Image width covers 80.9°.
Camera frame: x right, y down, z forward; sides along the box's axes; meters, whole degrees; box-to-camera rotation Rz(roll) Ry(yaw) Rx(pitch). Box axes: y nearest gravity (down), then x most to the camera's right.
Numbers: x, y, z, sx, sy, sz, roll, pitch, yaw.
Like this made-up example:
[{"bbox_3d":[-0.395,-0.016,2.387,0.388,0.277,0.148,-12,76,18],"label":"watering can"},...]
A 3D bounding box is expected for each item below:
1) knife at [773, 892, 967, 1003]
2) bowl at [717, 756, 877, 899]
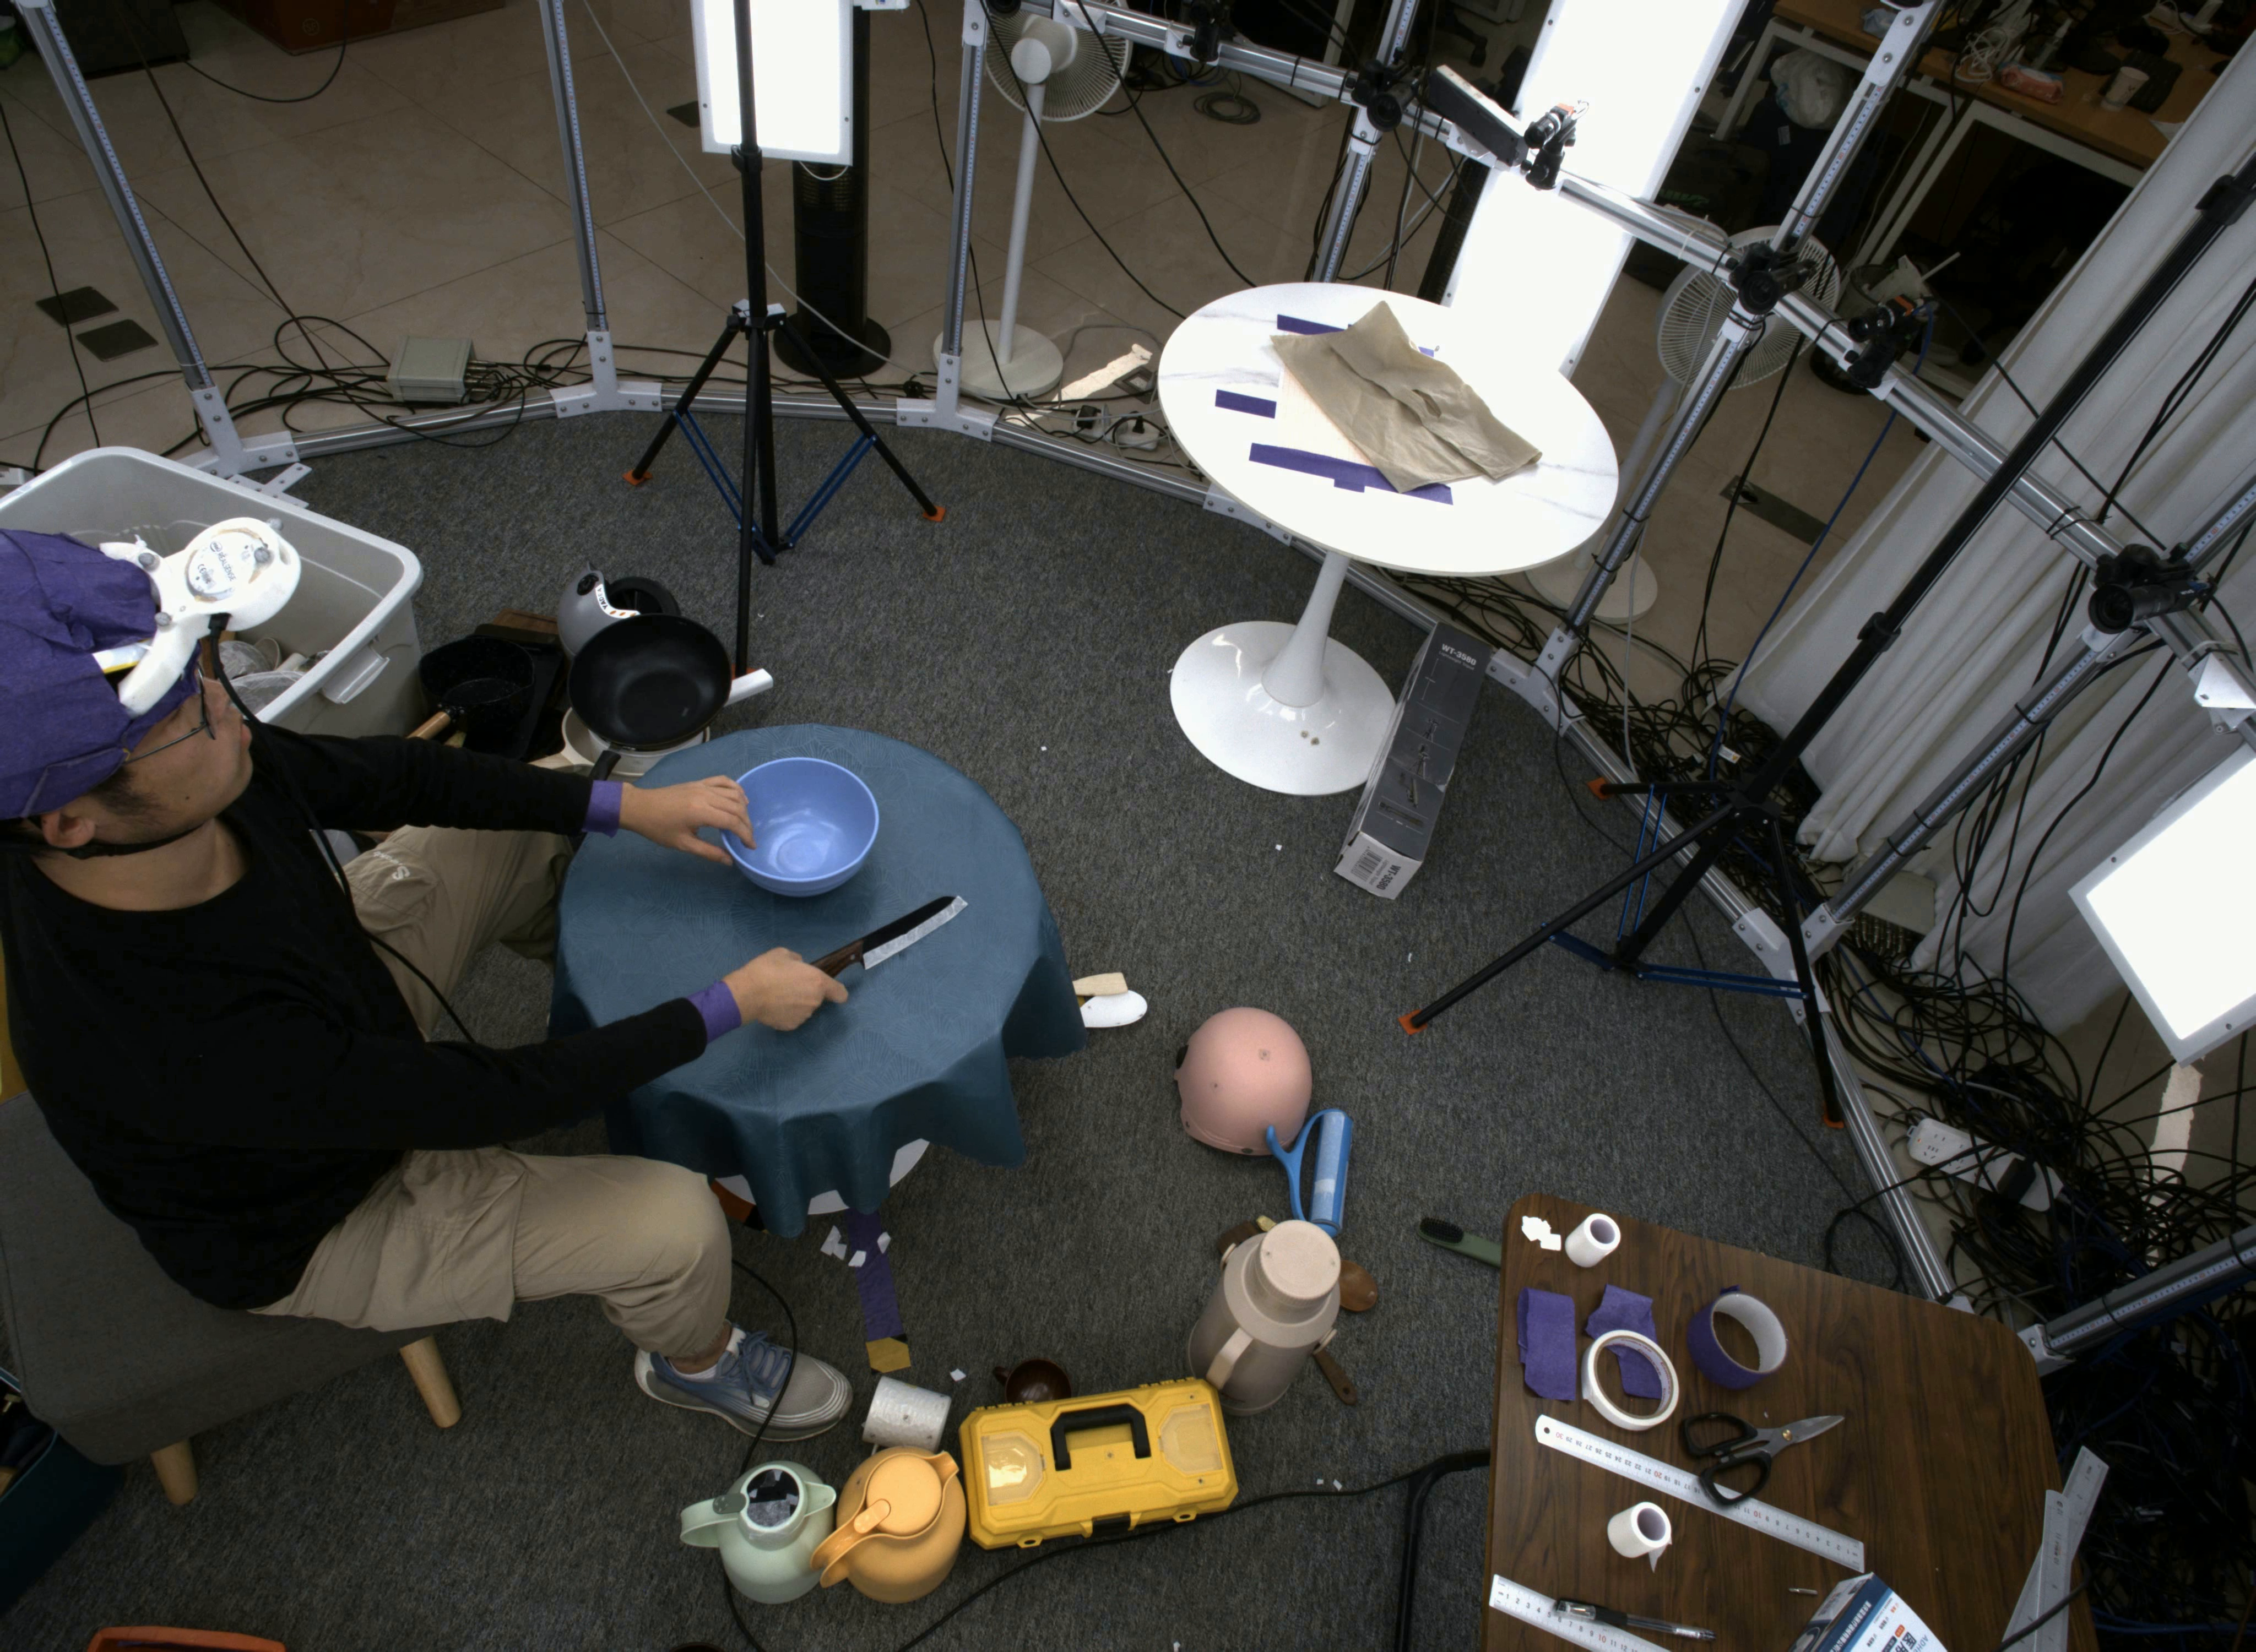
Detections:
[{"bbox_3d":[-0.312,0.145,1.606,0.019,0.052,0.291,17,33,42],"label":"knife"},{"bbox_3d":[-0.418,0.016,1.652,0.196,0.097,0.193,7,54,-8],"label":"bowl"}]
